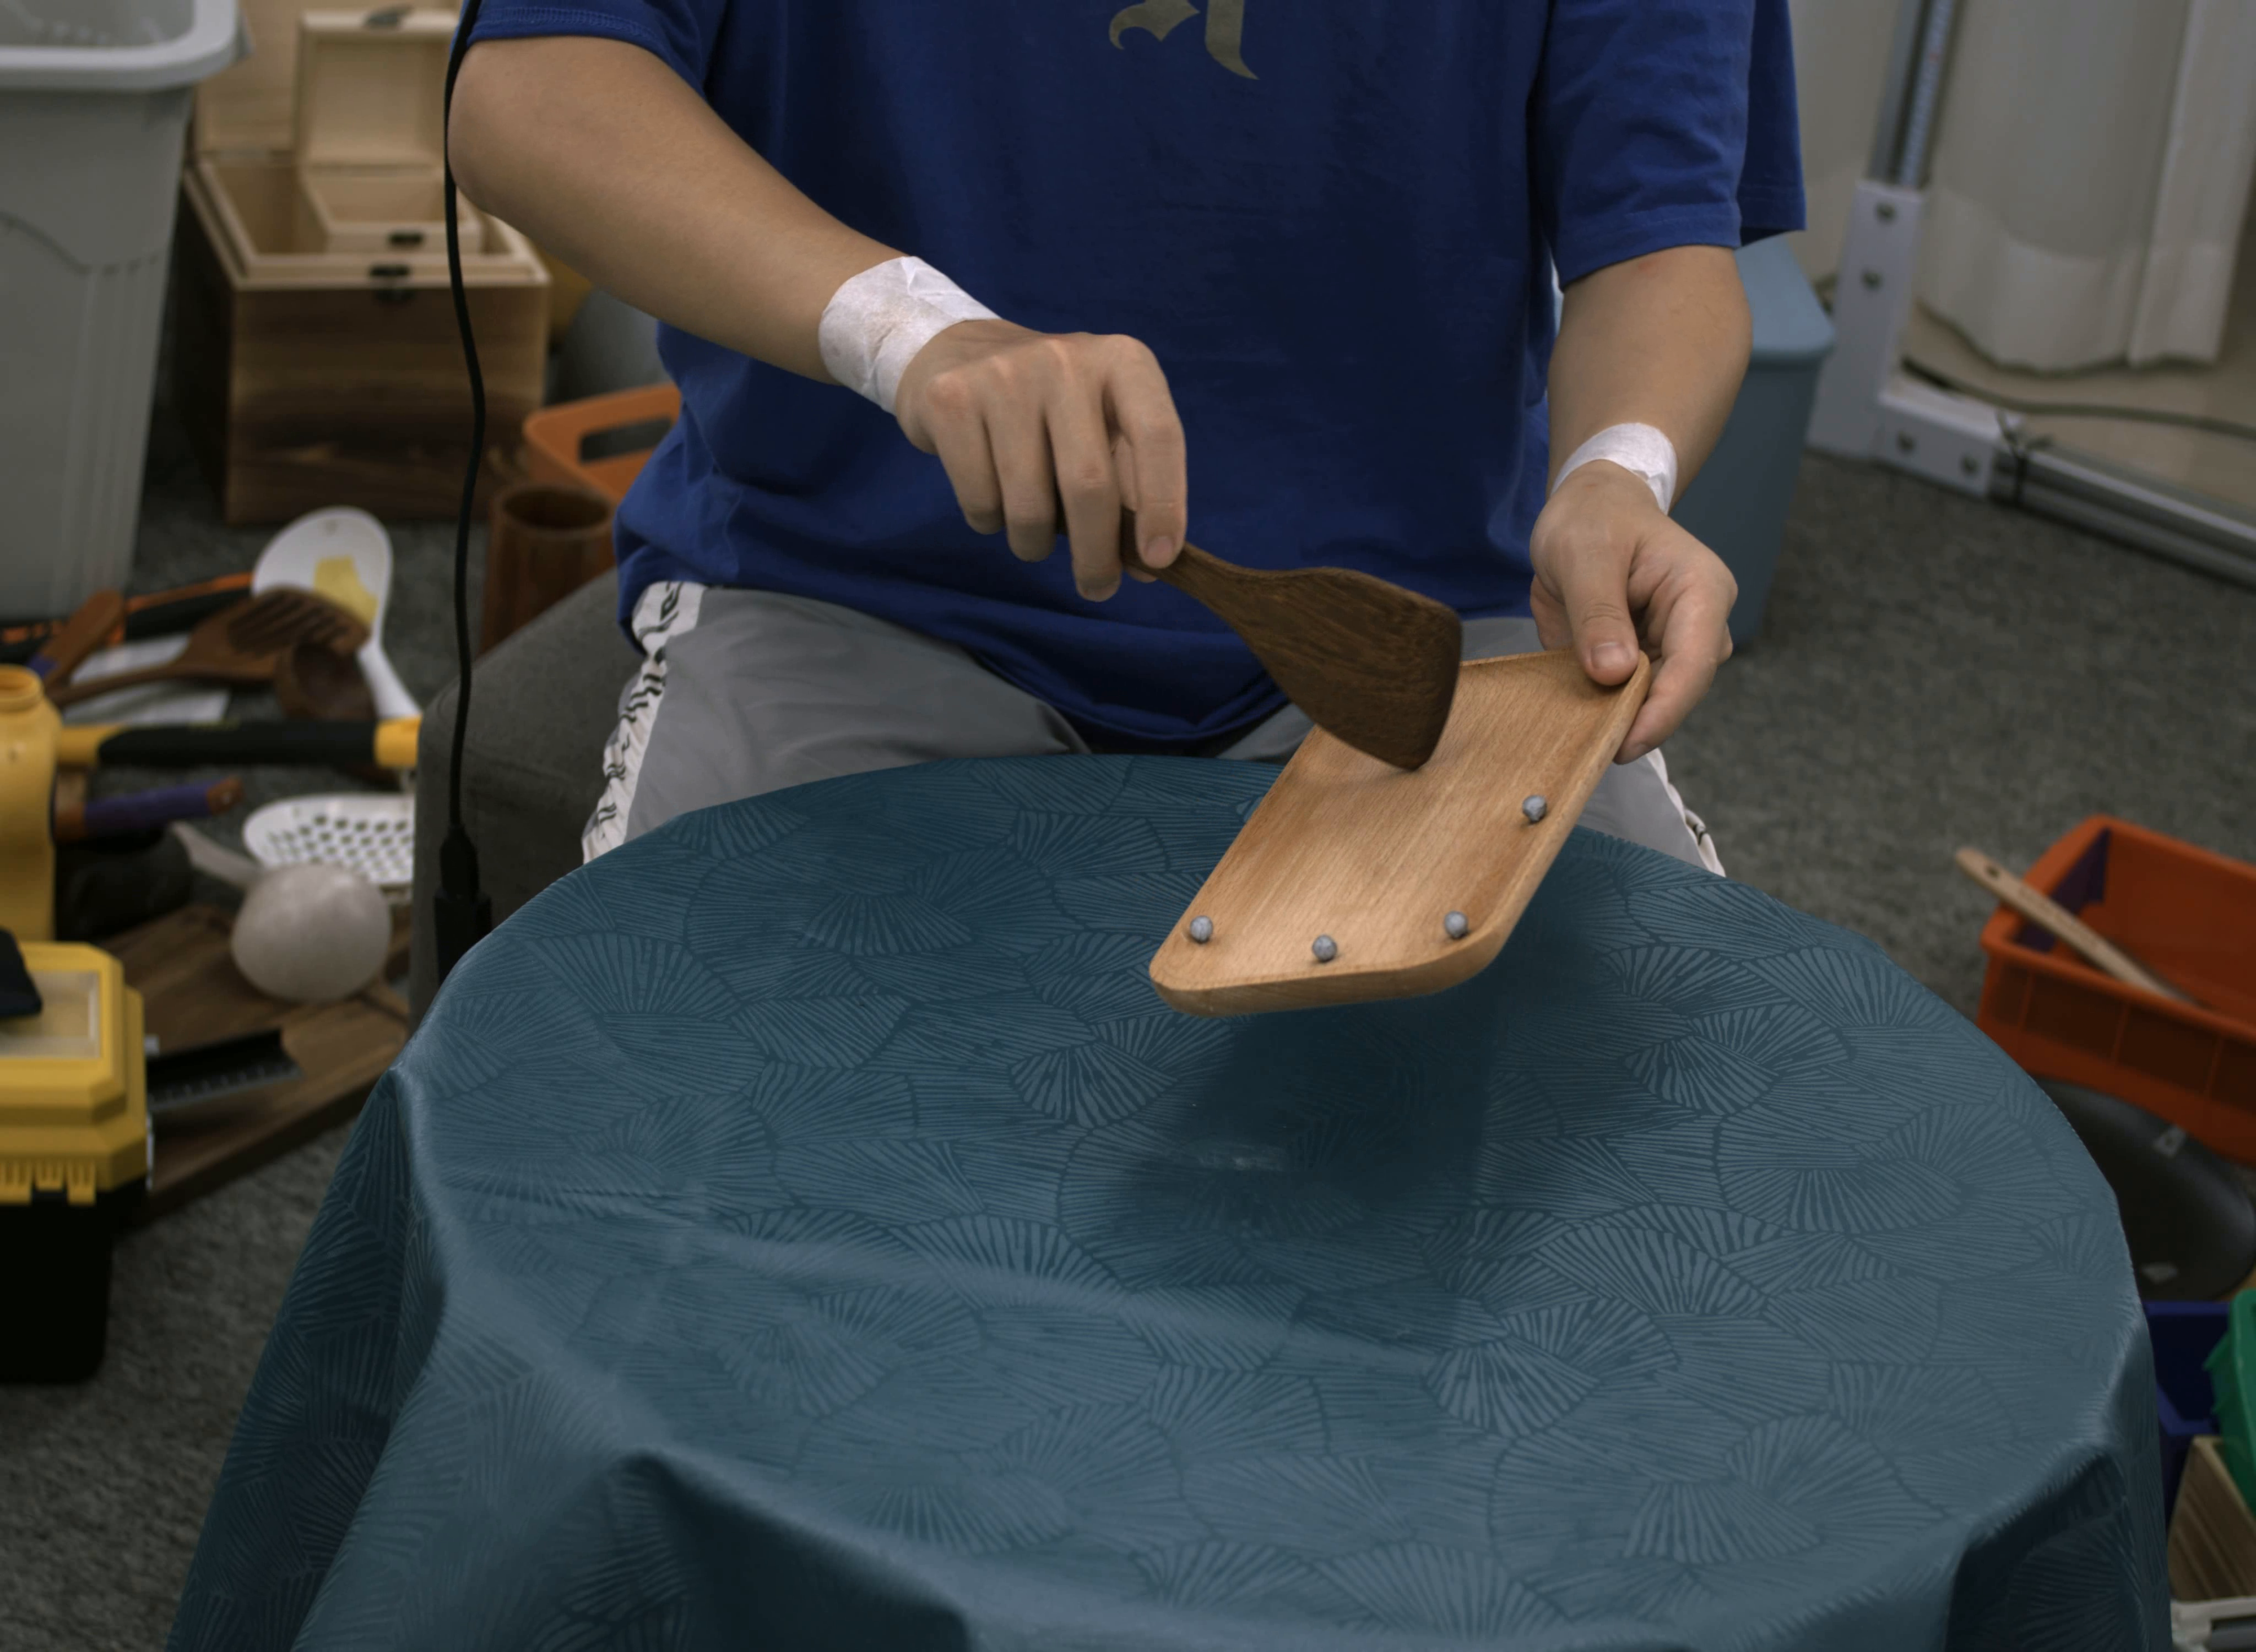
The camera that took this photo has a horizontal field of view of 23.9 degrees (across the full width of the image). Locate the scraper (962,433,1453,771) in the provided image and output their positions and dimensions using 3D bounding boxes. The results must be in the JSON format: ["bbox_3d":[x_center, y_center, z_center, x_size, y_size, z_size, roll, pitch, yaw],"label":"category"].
[{"bbox_3d":[0.025,-0.089,1.917,0.212,0.075,0.011,29,41,24],"label":"scraper"}]

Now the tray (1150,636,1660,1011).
[{"bbox_3d":[0.100,-0.003,1.858,0.131,0.023,0.251,-4,24,25],"label":"tray"}]
